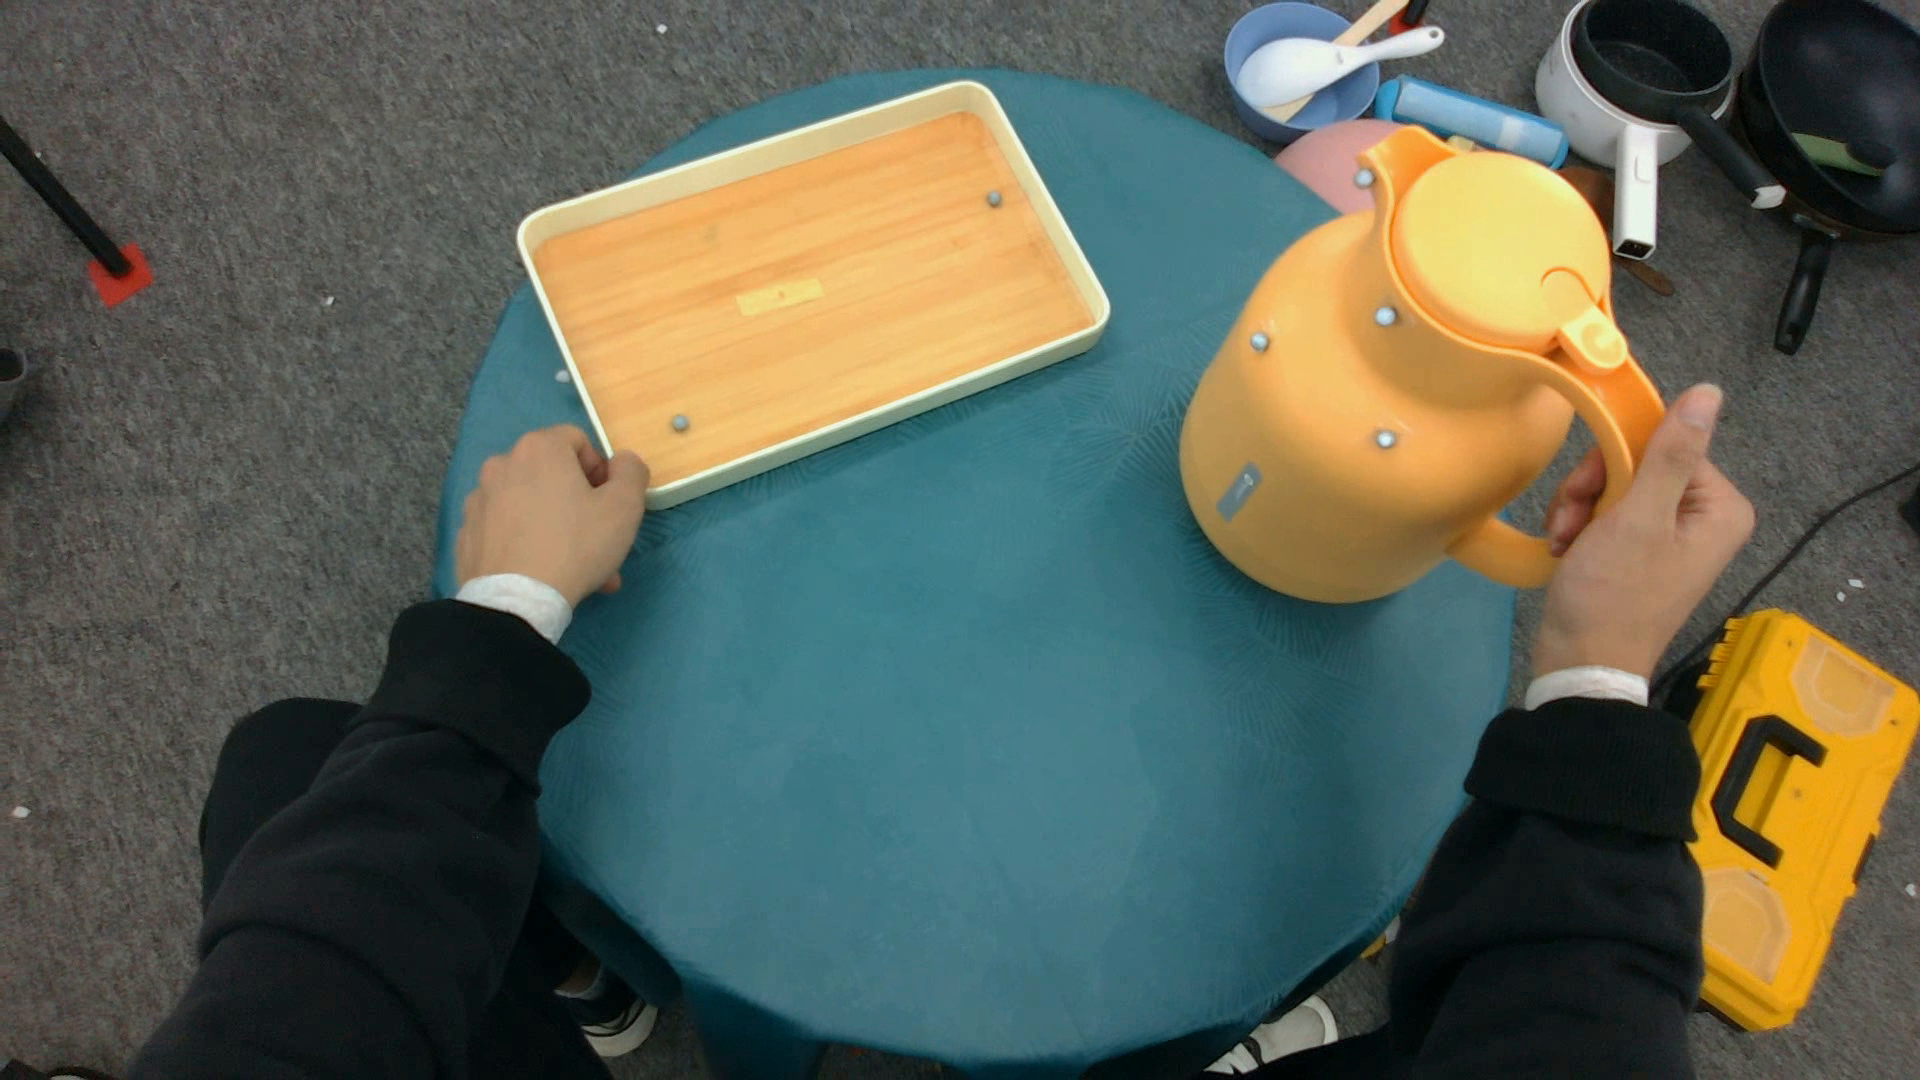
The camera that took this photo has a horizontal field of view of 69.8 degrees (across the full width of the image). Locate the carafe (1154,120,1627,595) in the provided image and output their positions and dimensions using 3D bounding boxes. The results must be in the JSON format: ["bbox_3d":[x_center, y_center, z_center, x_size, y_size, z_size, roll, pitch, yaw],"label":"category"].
[{"bbox_3d":[0.207,-0.066,0.677,0.164,0.259,0.202,-31,74,-15],"label":"carafe"}]

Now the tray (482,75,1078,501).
[{"bbox_3d":[-0.100,-0.153,0.796,0.301,0.027,0.192,-22,72,-15],"label":"tray"}]
